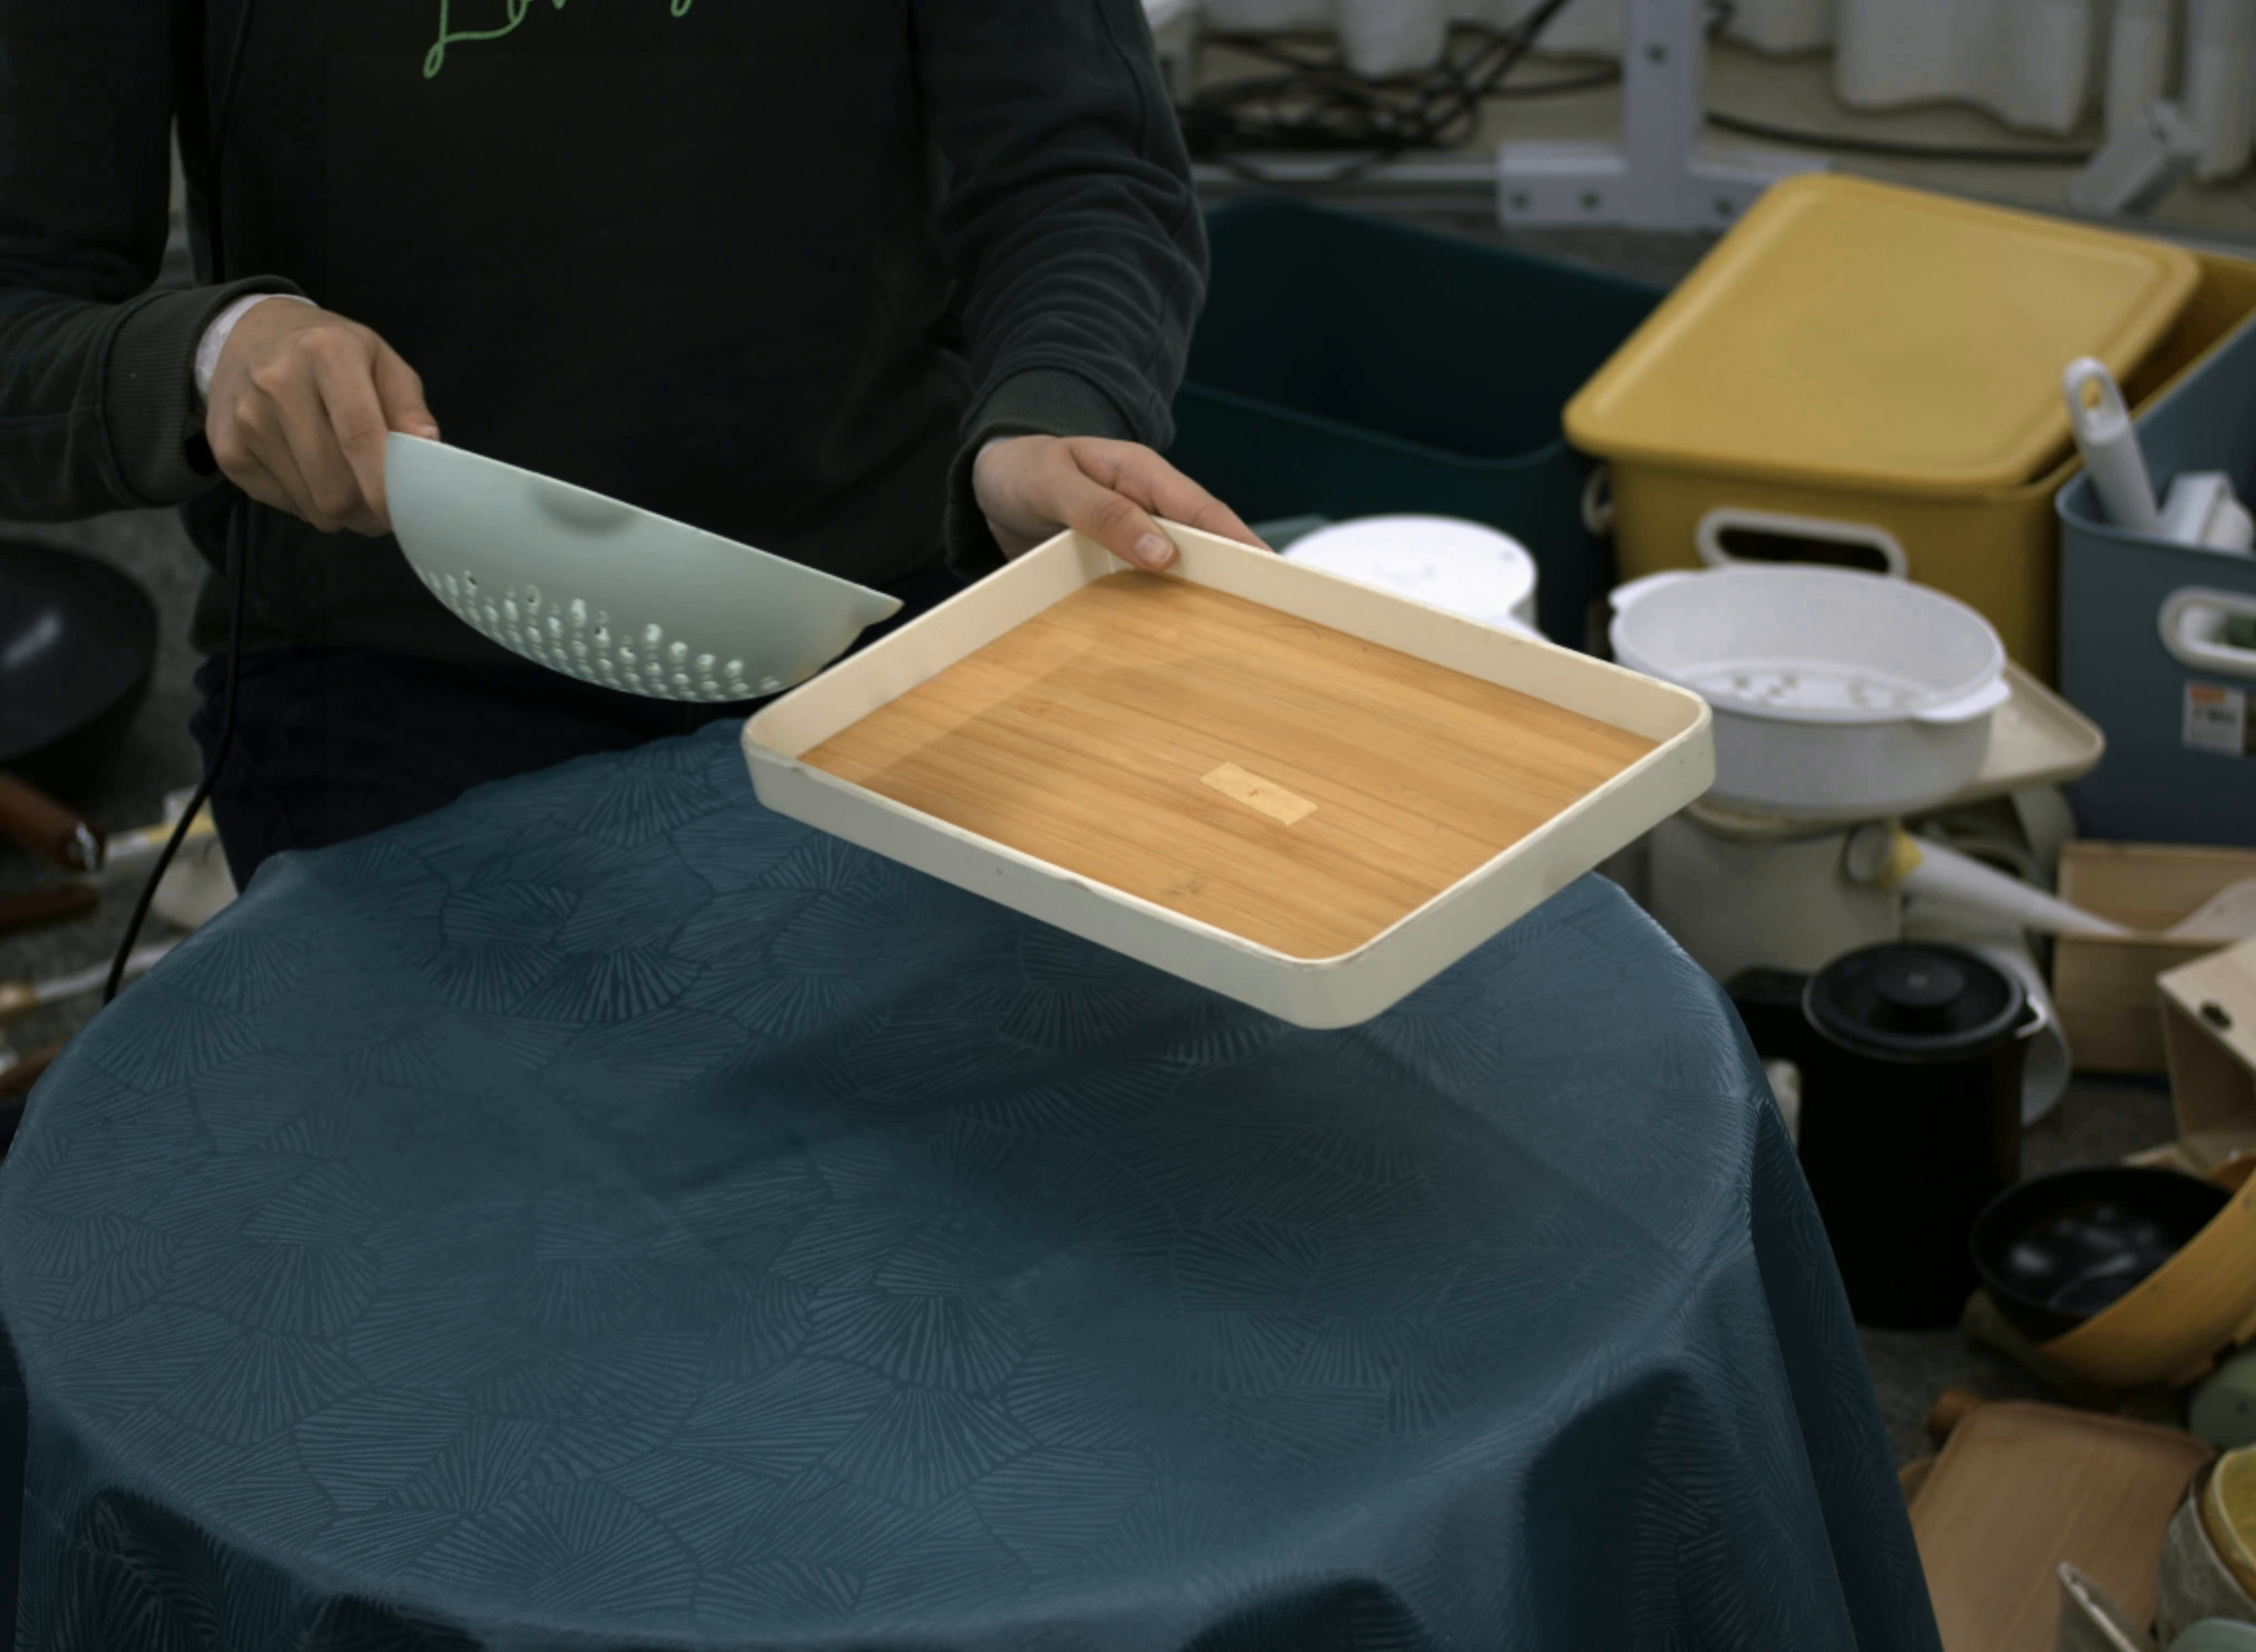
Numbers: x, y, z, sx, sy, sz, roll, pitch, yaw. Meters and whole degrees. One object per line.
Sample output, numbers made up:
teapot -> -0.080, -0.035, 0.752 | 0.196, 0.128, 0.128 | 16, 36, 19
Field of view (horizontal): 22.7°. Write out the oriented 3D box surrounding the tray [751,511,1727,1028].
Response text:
tray -> 0.033, -0.024, 1.872 | 0.194, 0.027, 0.299 | -32, 35, -32

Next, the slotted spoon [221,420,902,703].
slotted spoon -> -0.221, -0.106, 1.918 | 0.169, 0.075, 0.359 | 20, 6, -37
